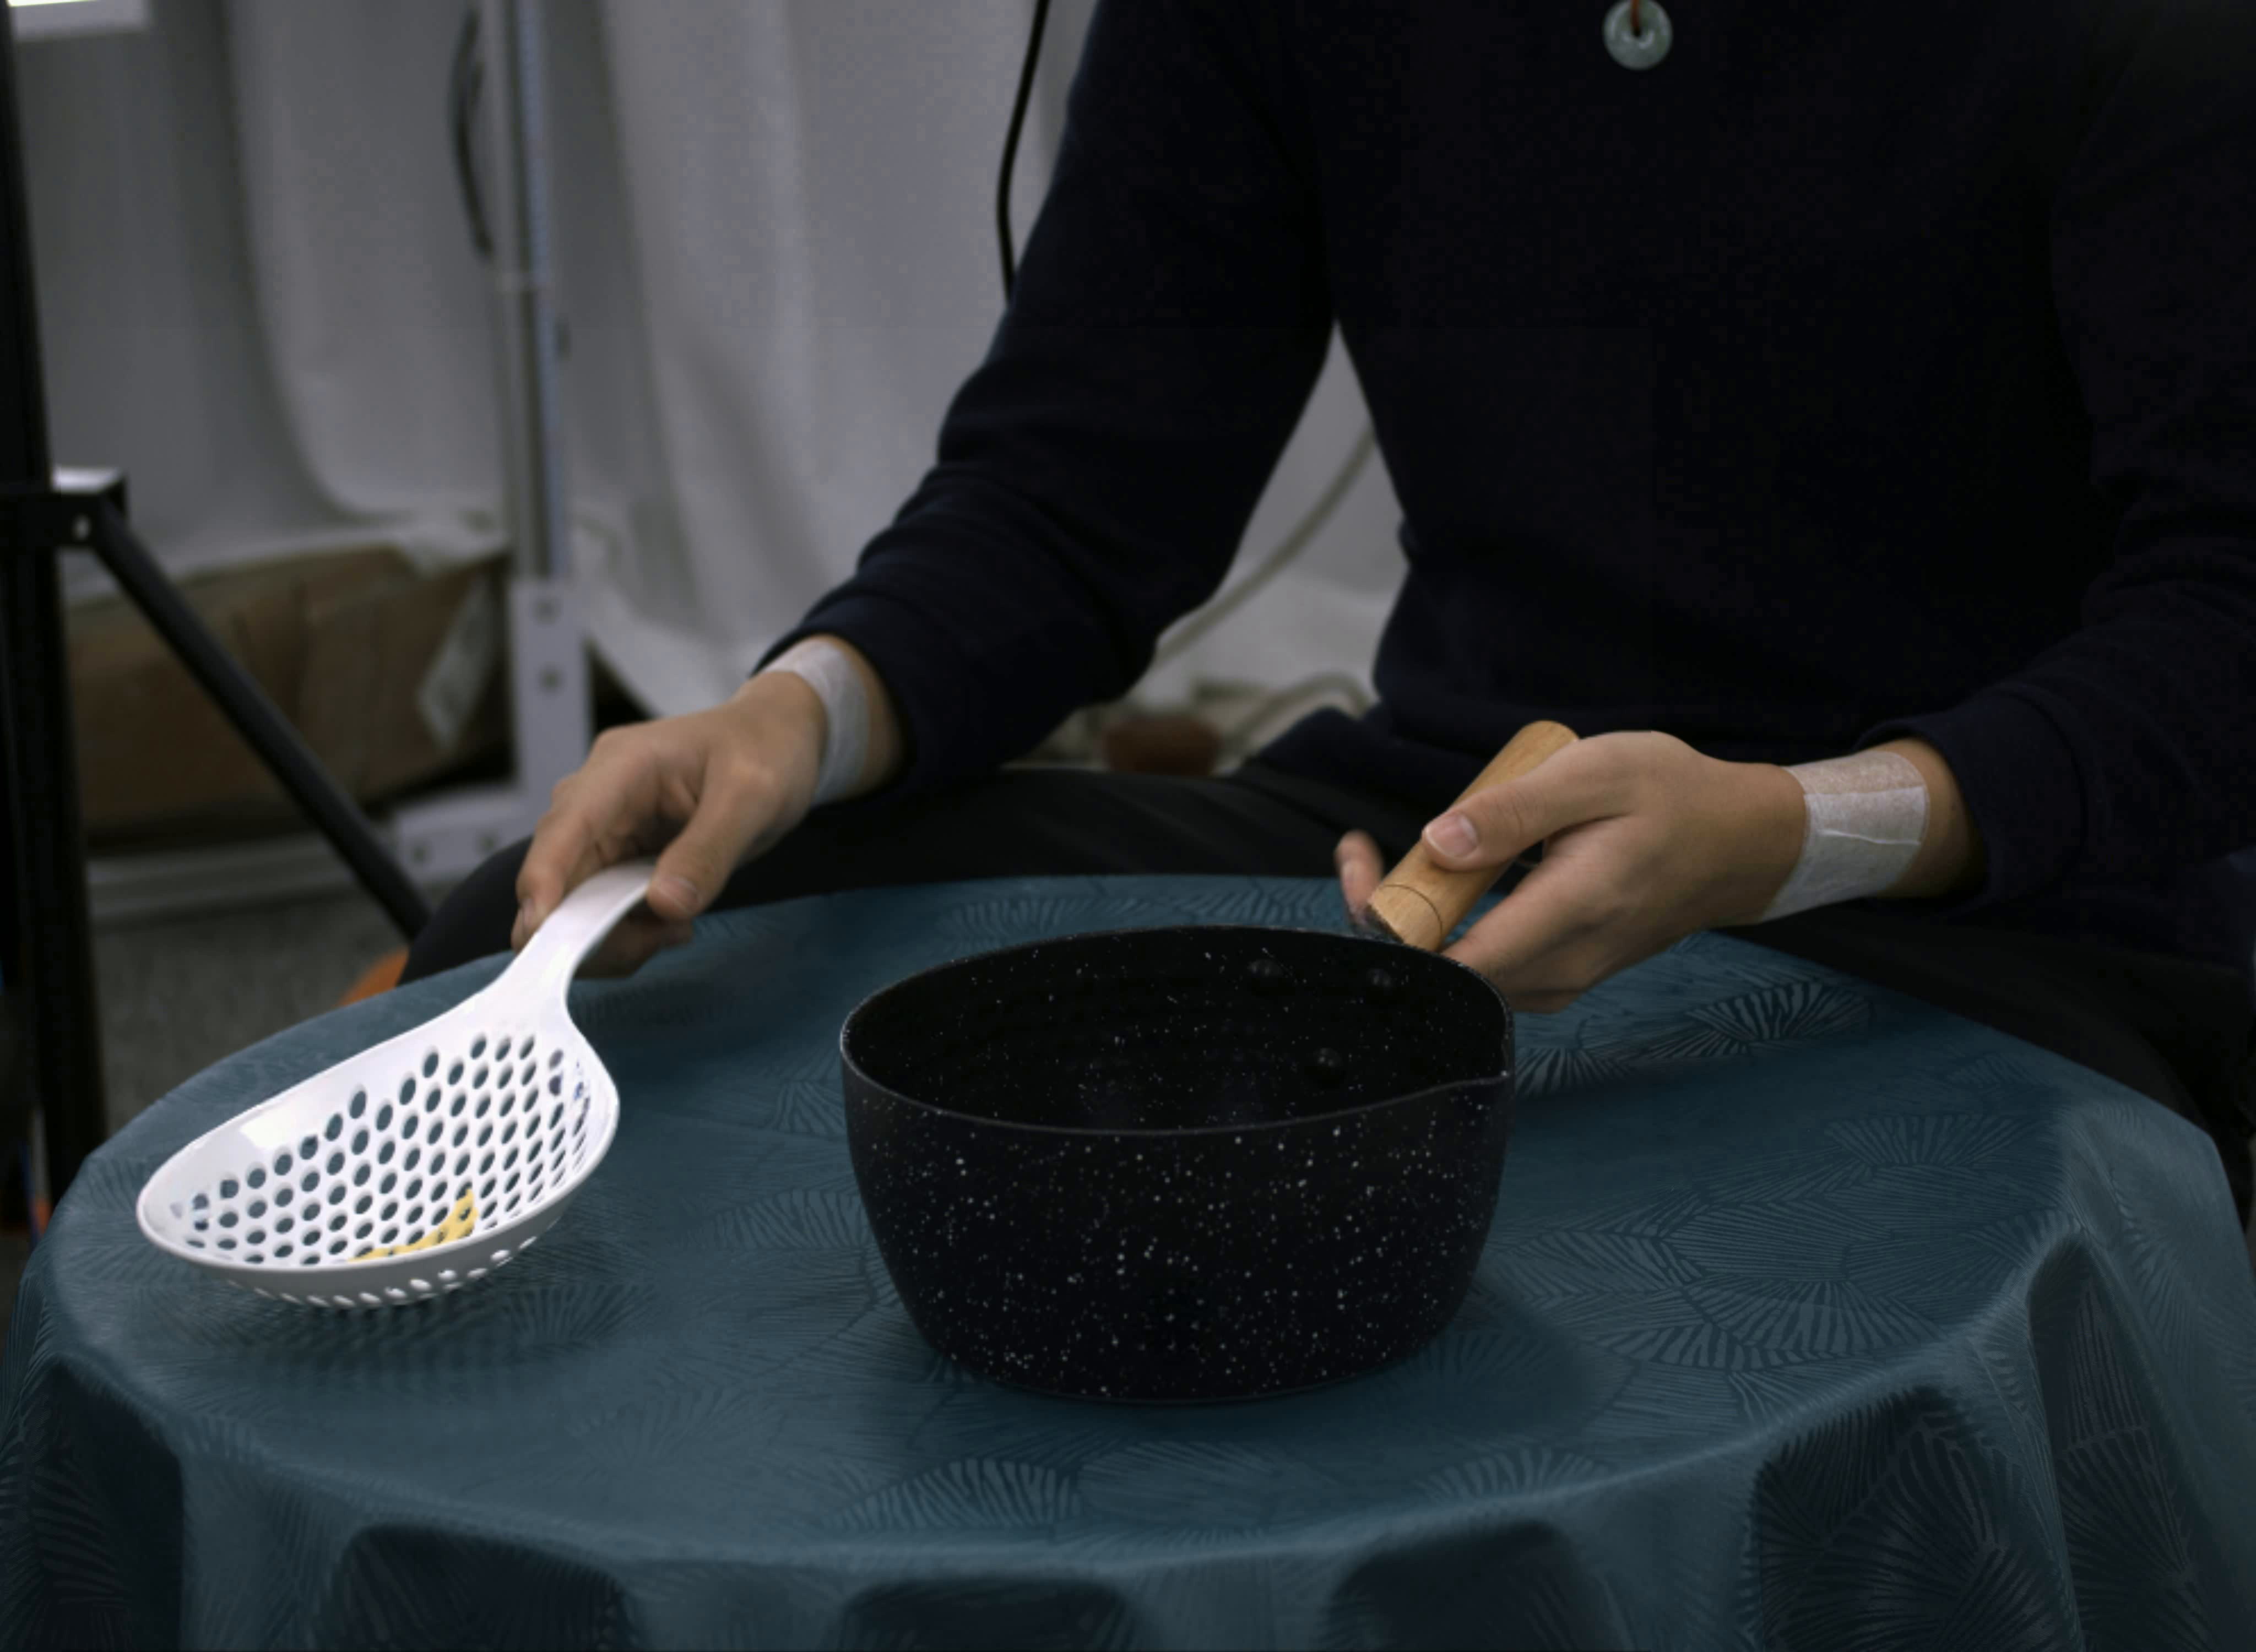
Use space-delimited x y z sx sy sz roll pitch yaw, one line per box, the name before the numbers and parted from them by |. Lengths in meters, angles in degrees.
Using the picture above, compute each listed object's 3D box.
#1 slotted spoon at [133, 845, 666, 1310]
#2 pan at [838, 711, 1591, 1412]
slotted spoon | -0.187 0.062 1.608 0.138 0.050 0.347 -5 25 15
pan | 0.052 0.062 1.514 0.211 0.108 0.337 5 19 29
